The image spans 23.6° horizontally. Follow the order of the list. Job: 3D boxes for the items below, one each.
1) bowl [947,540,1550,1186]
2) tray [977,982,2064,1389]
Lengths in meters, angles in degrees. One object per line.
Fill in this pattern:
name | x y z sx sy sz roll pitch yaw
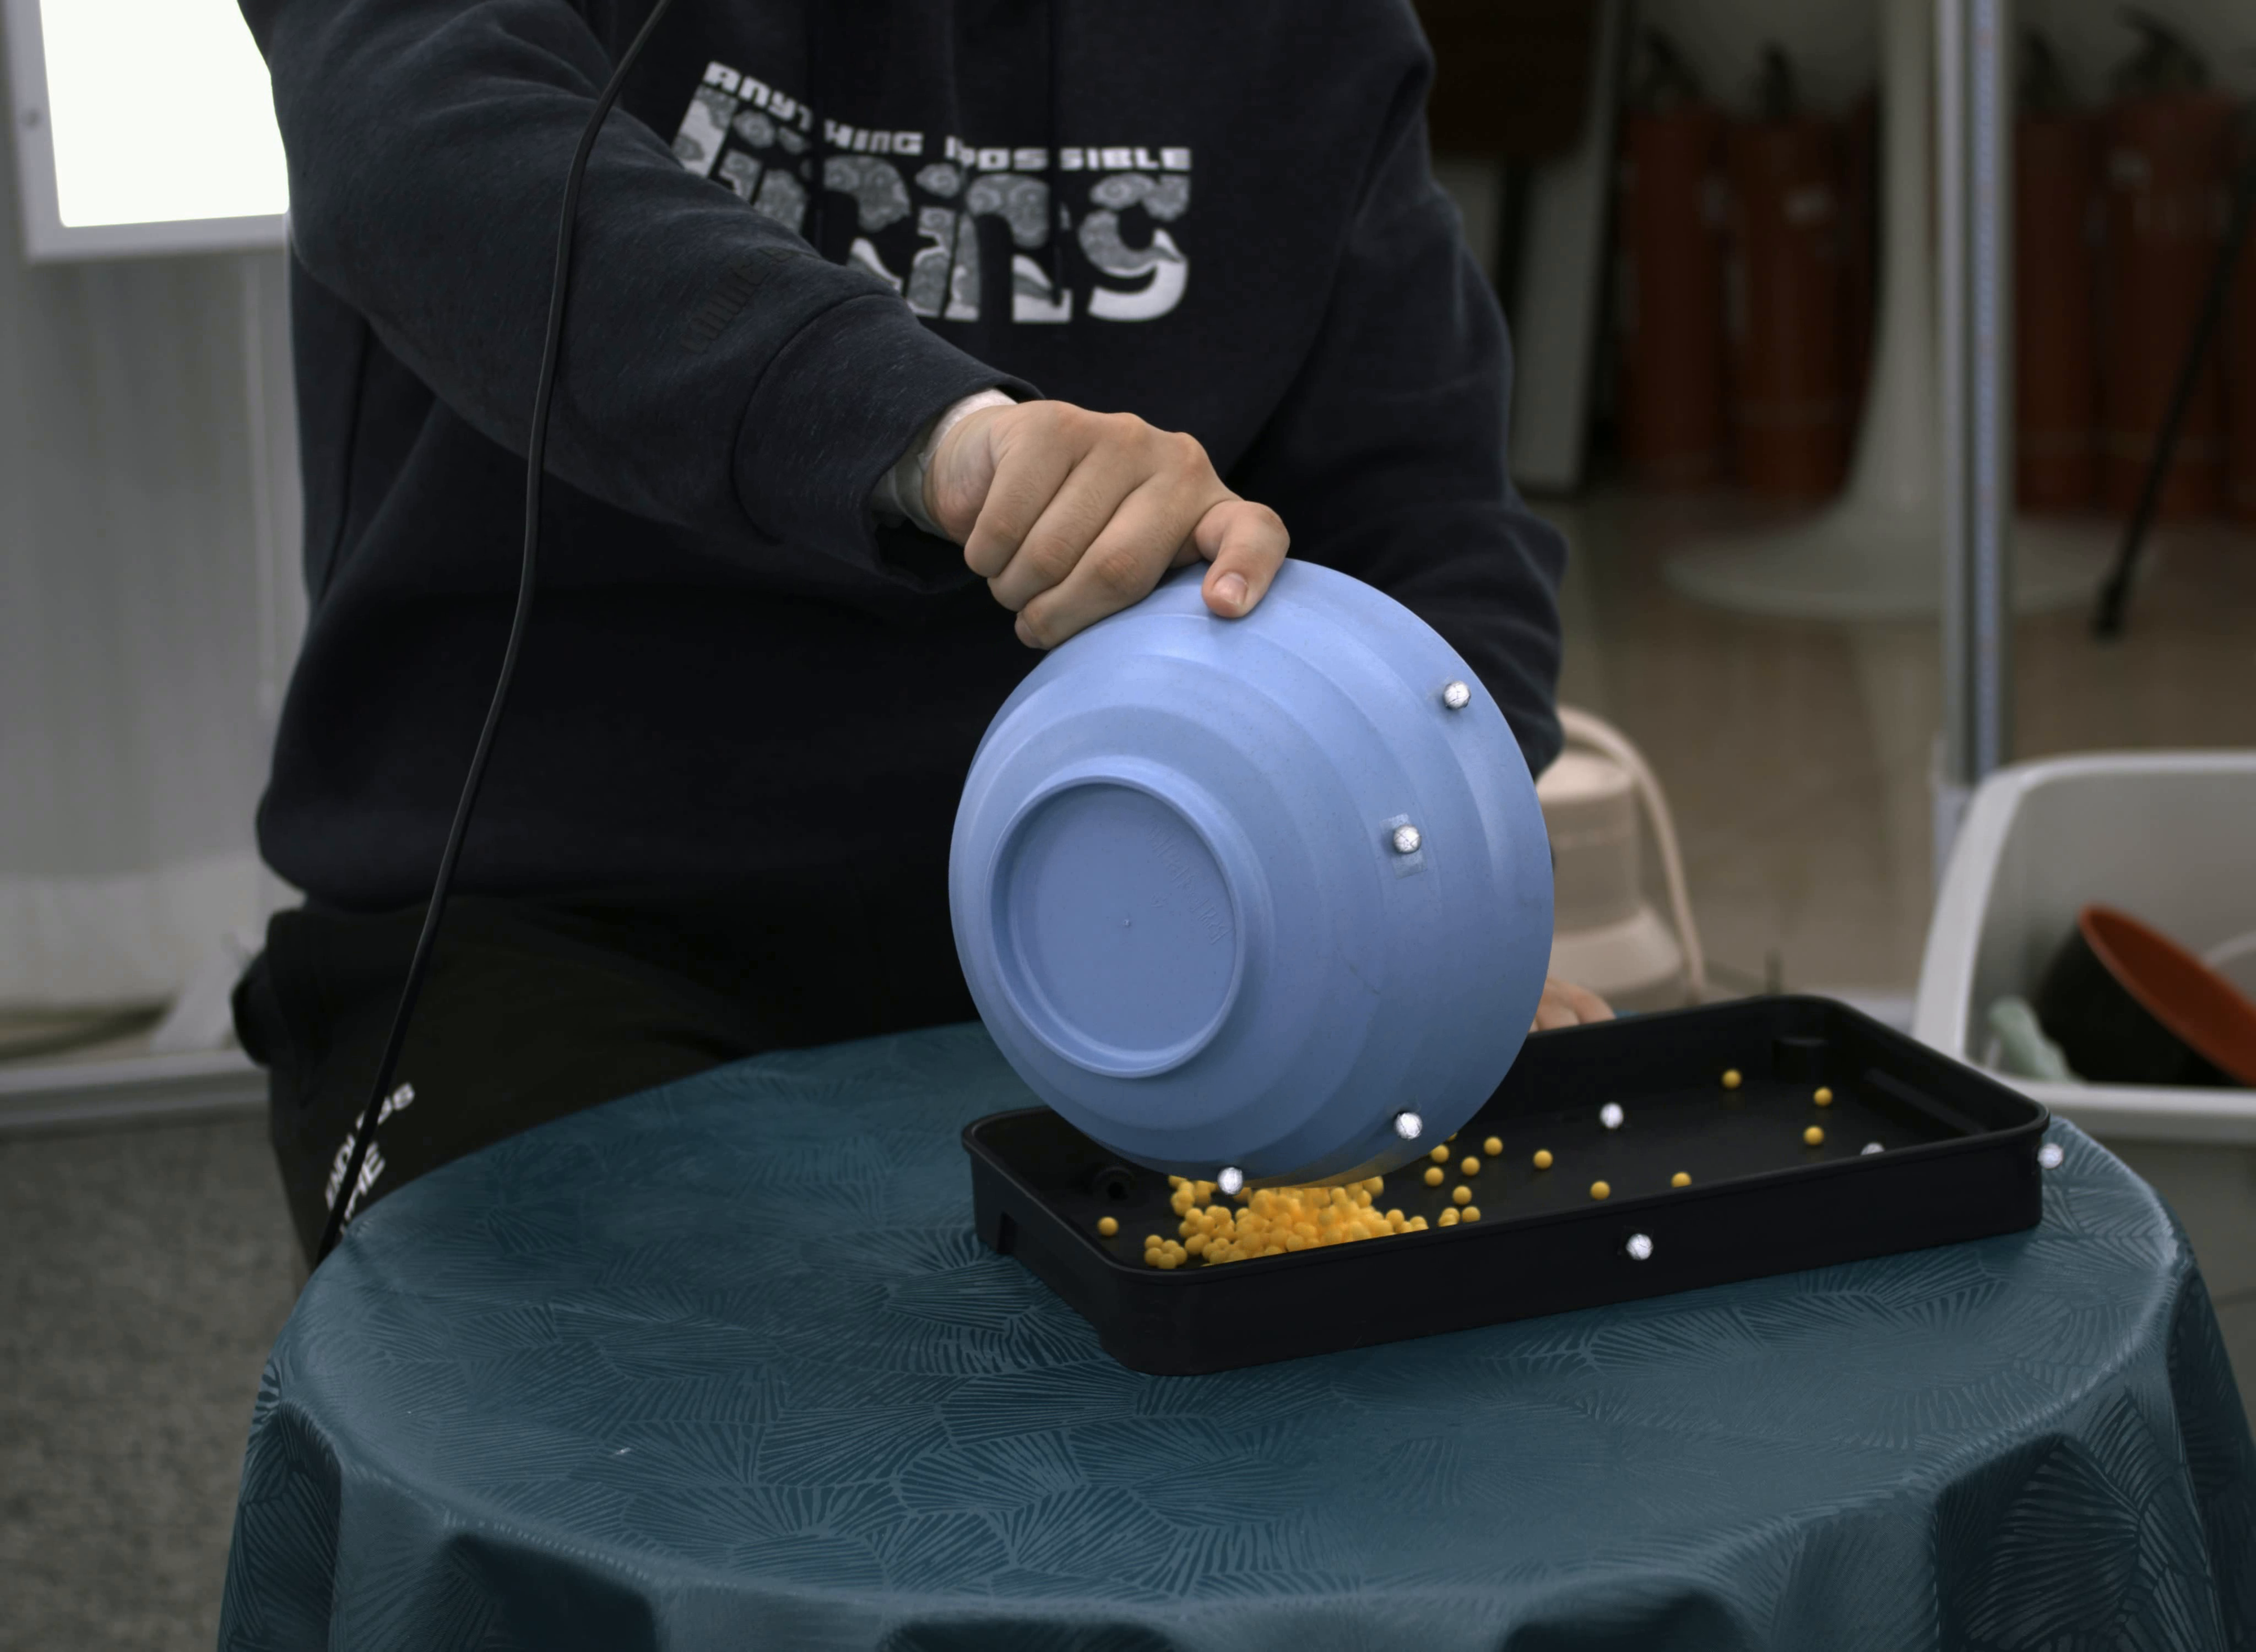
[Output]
bowl | 0.019 0.019 1.602 0.197 0.199 0.094 6 13 34
tray | 0.124 0.110 1.714 0.311 0.037 0.186 -10 14 -19
